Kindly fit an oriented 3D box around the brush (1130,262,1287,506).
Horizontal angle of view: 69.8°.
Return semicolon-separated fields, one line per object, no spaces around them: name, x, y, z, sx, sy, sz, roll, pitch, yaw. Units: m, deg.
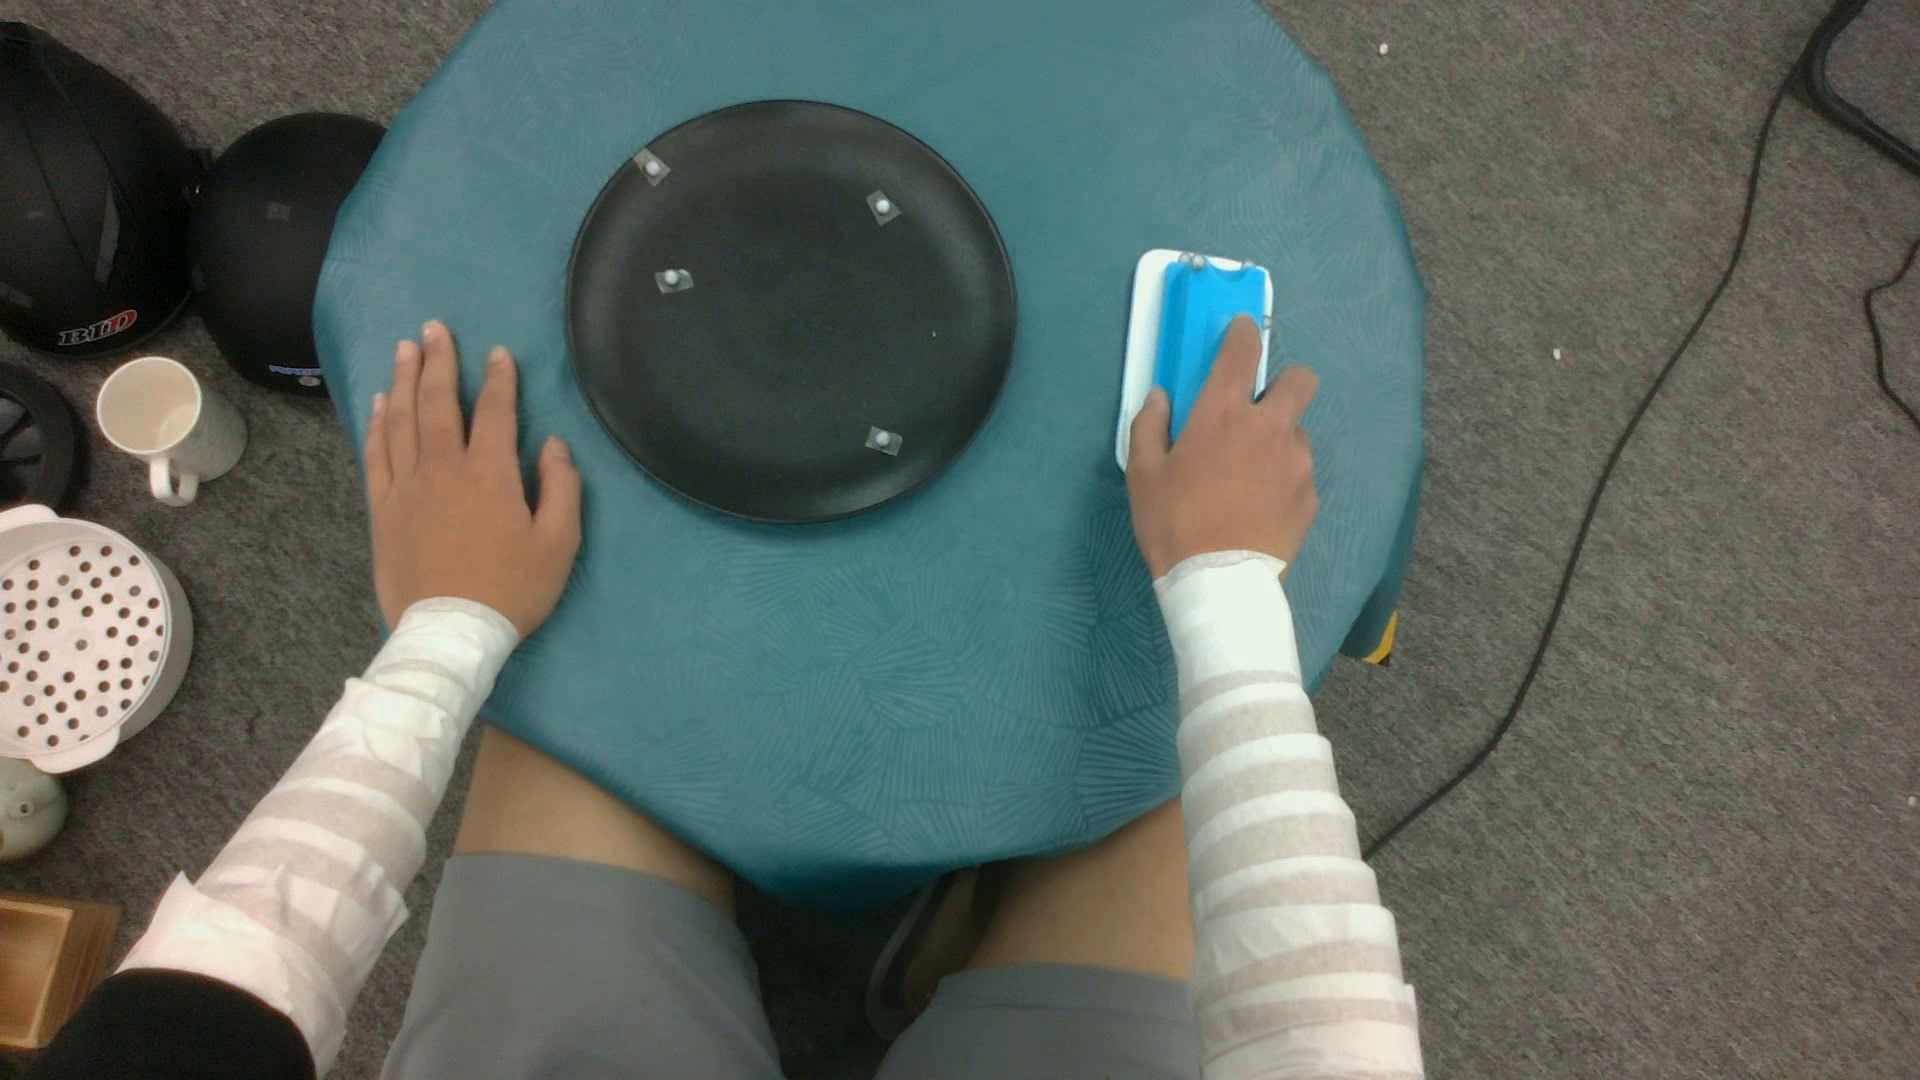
brush;0.141;-0.093;0.761;0.084;0.056;0.144;7;73;-1

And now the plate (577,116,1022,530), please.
plate;-0.087;-0.122;0.766;0.244;0.023;0.245;1;76;-5
